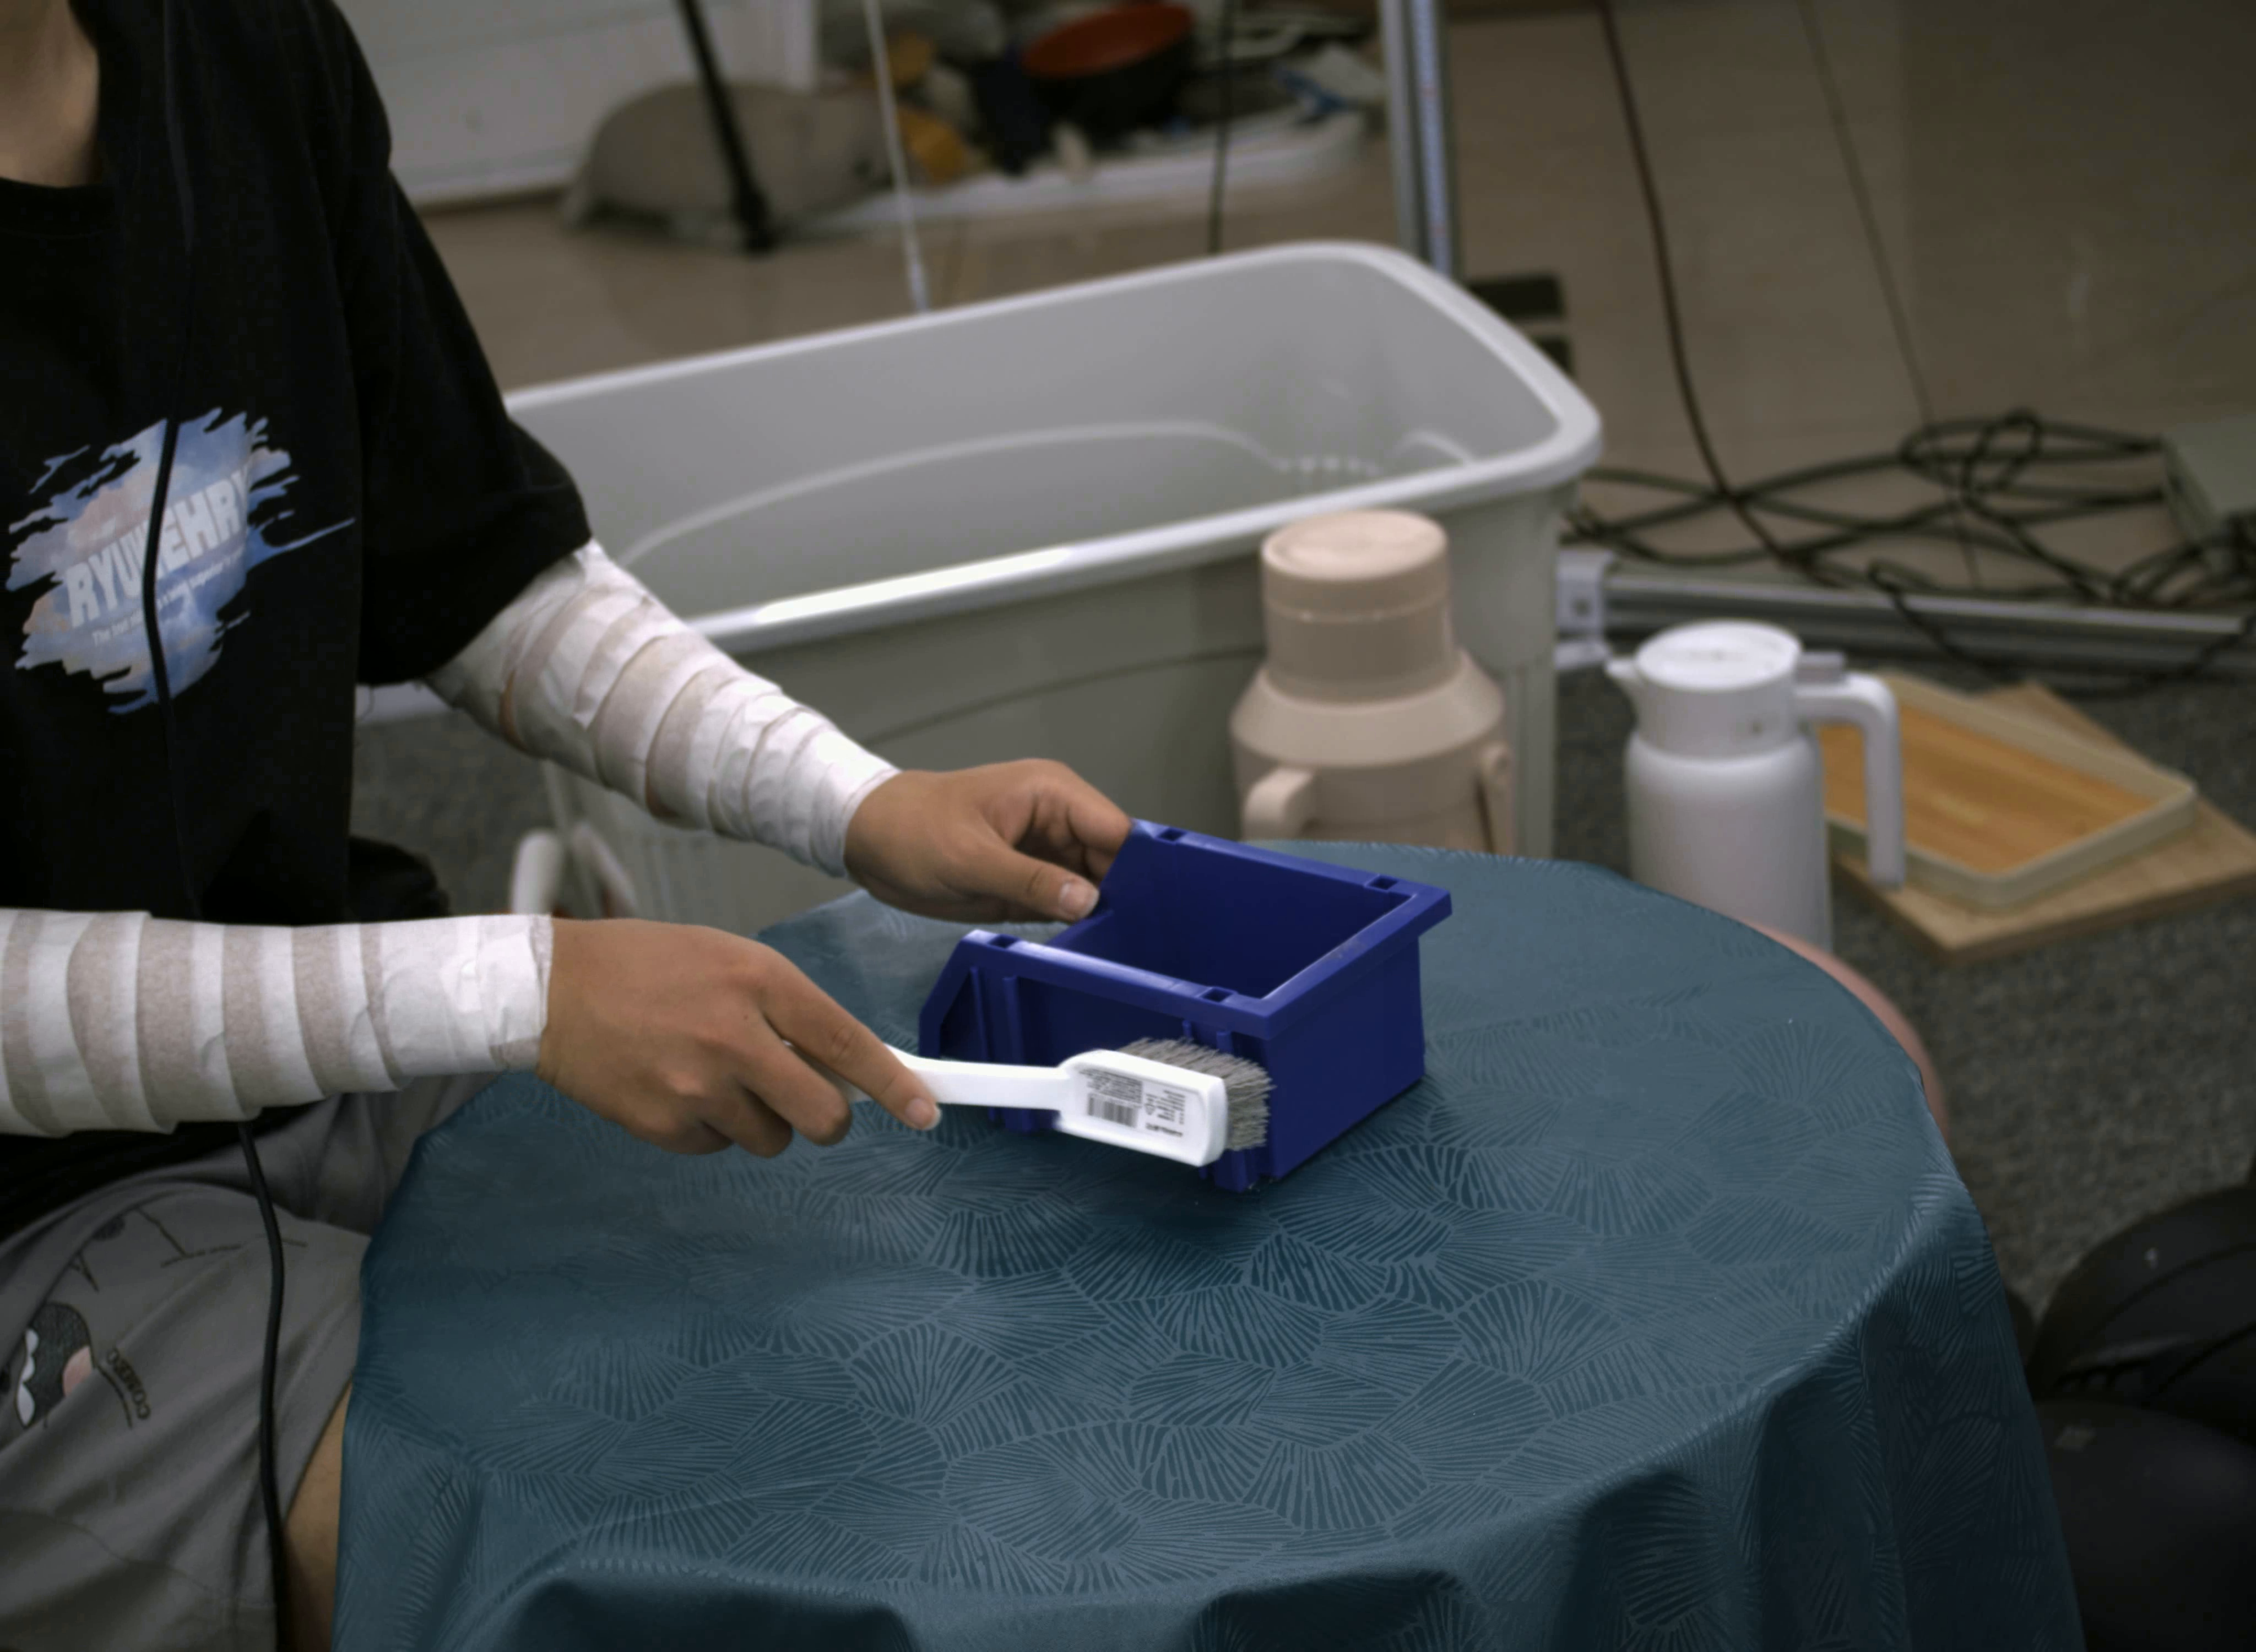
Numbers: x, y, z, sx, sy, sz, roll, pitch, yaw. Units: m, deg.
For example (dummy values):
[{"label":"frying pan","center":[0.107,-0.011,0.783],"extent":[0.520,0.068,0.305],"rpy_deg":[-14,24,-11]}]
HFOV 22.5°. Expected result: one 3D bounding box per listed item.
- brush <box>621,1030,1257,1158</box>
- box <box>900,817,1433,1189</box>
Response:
[{"label":"brush","center":[-0.070,0.094,2.125],"extent":[0.243,0.035,0.050],"rpy_deg":[5,12,17]},{"label":"box","center":[0.013,0.066,2.204],"extent":[0.178,0.083,0.123],"rpy_deg":[16,33,37]}]
